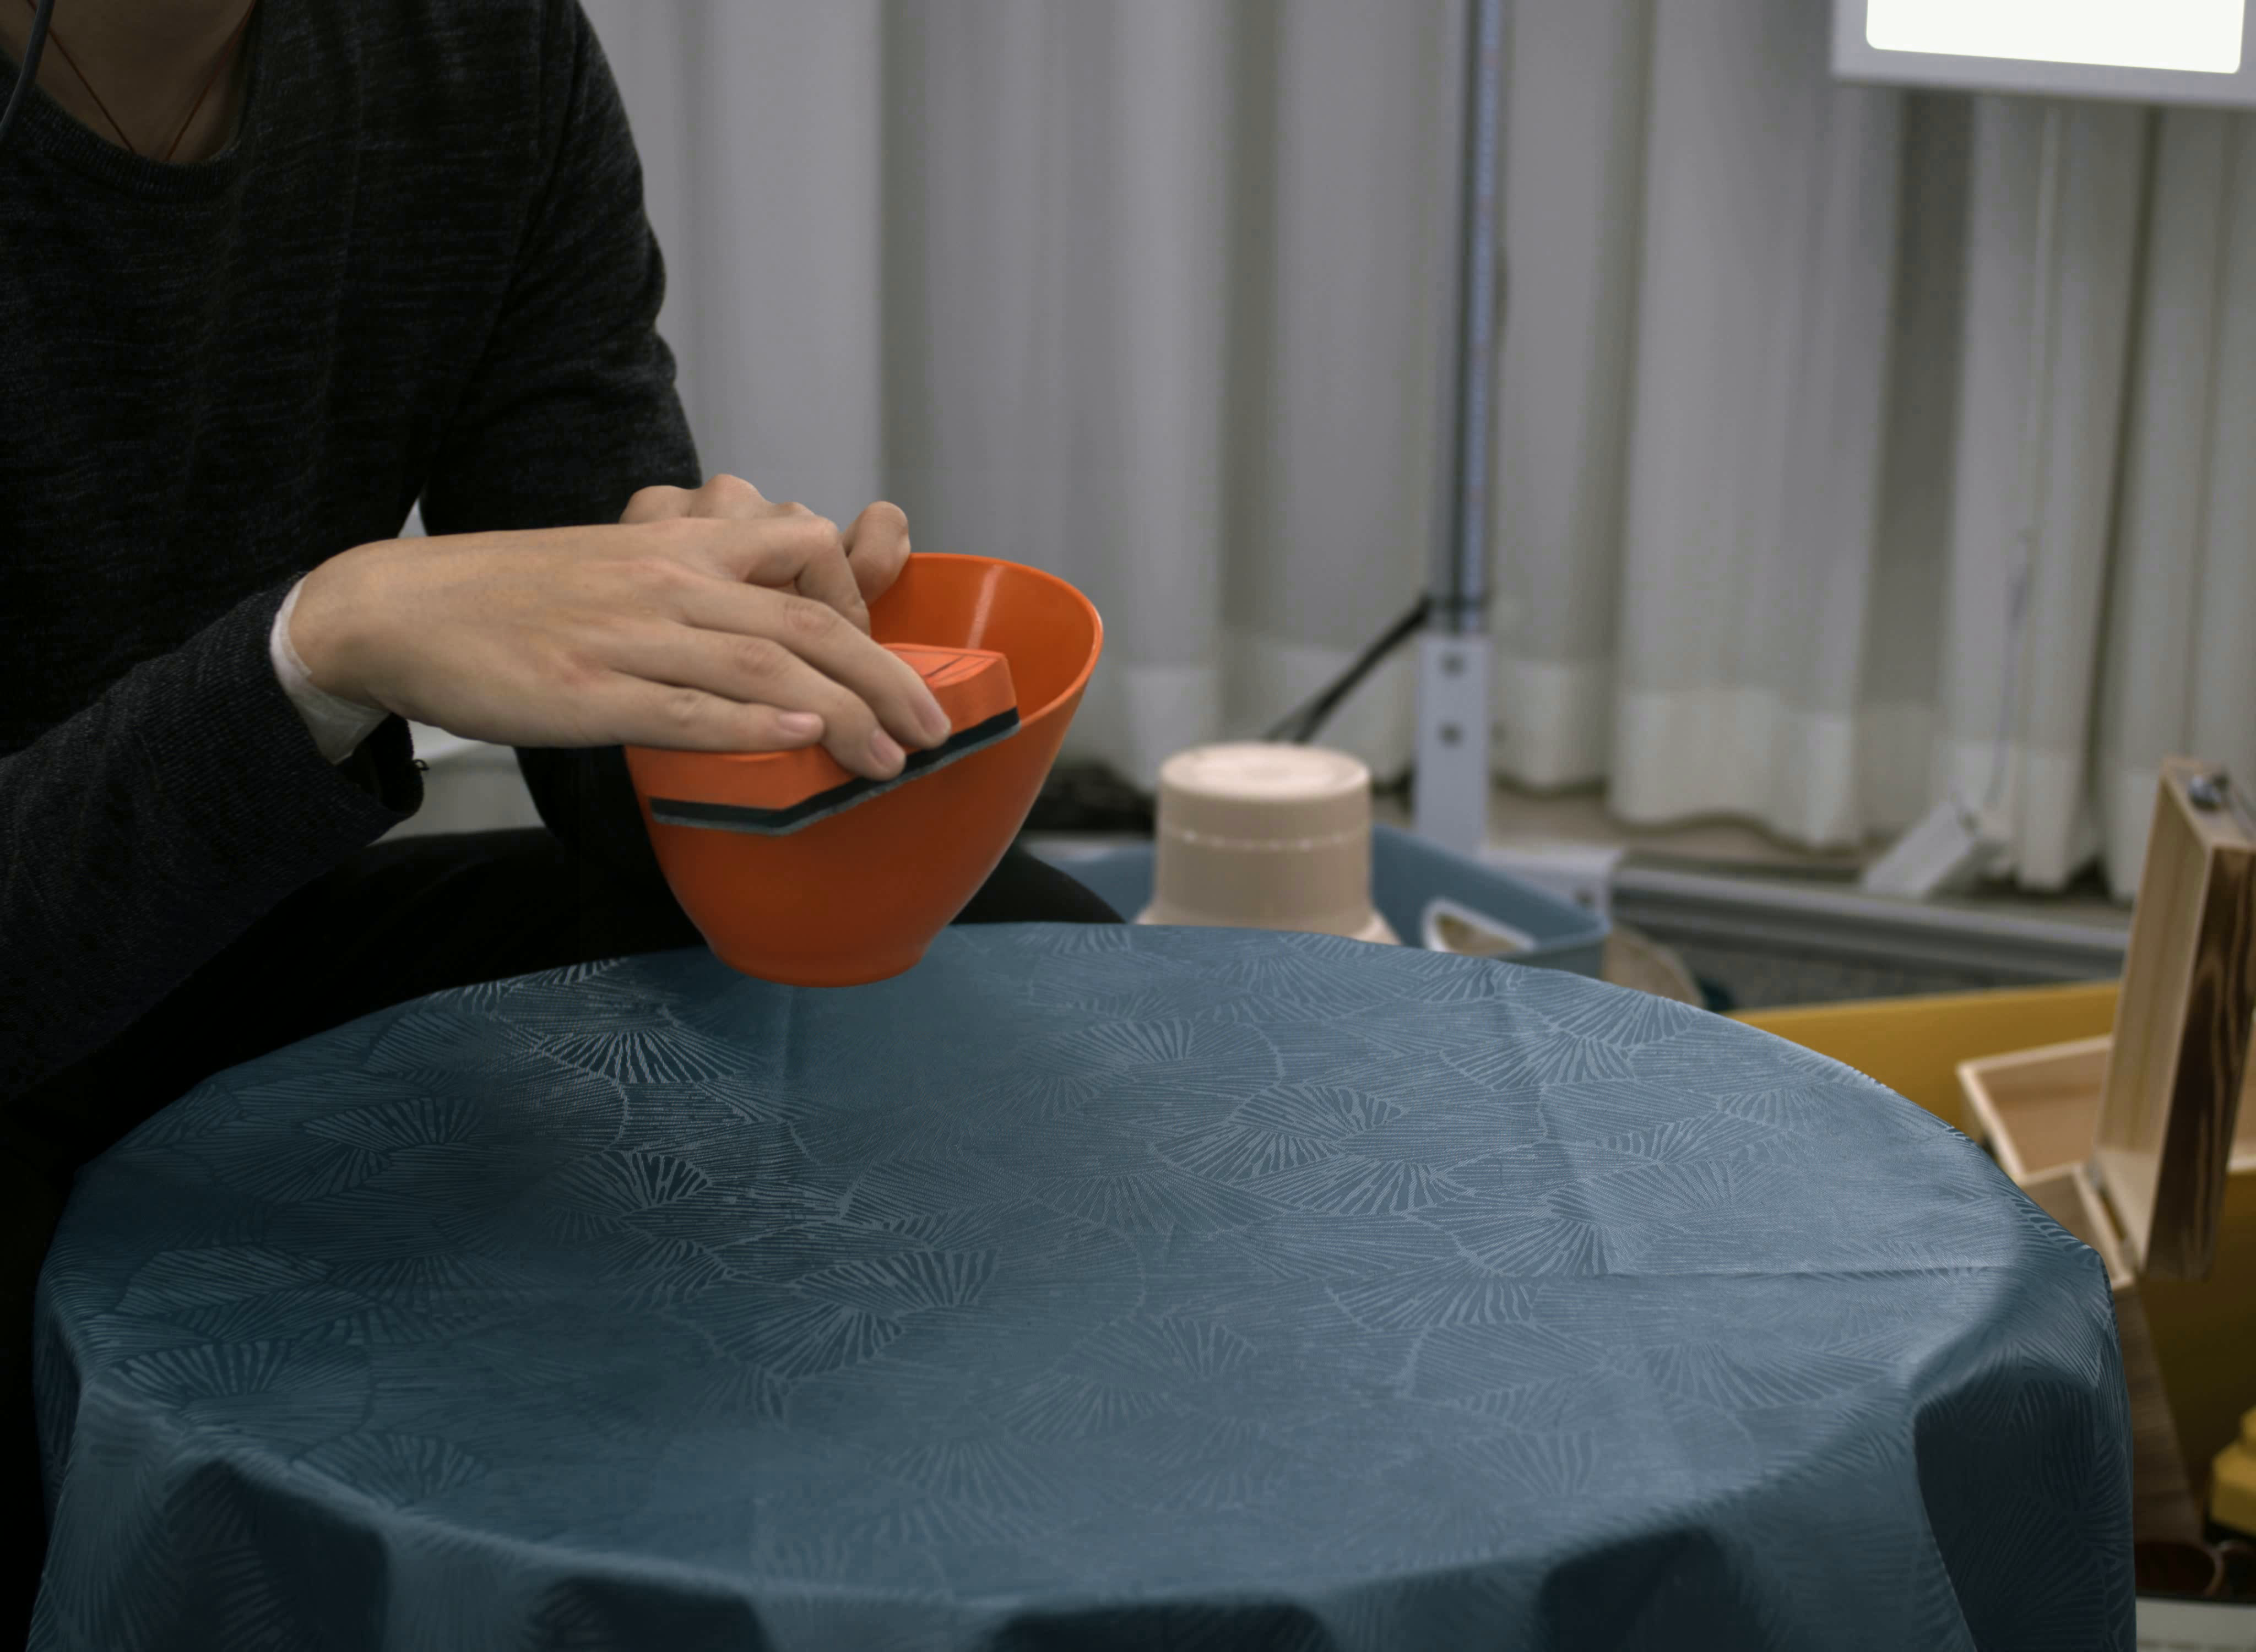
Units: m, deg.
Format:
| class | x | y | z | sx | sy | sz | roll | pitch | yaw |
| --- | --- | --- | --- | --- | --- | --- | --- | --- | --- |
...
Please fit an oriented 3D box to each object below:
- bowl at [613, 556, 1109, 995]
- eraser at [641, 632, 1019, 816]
| class | x | y | z | sx | sy | sz | roll | pitch | yaw |
| --- | --- | --- | --- | --- | --- | --- | --- | --- | --- |
| bowl | -0.080 | -0.011 | 1.584 | 0.147 | 0.105 | 0.147 | 2 | 24 | -1 |
| eraser | -0.084 | -0.030 | 1.490 | 0.058 | 0.023 | 0.108 | 8 | 21 | 39 |
